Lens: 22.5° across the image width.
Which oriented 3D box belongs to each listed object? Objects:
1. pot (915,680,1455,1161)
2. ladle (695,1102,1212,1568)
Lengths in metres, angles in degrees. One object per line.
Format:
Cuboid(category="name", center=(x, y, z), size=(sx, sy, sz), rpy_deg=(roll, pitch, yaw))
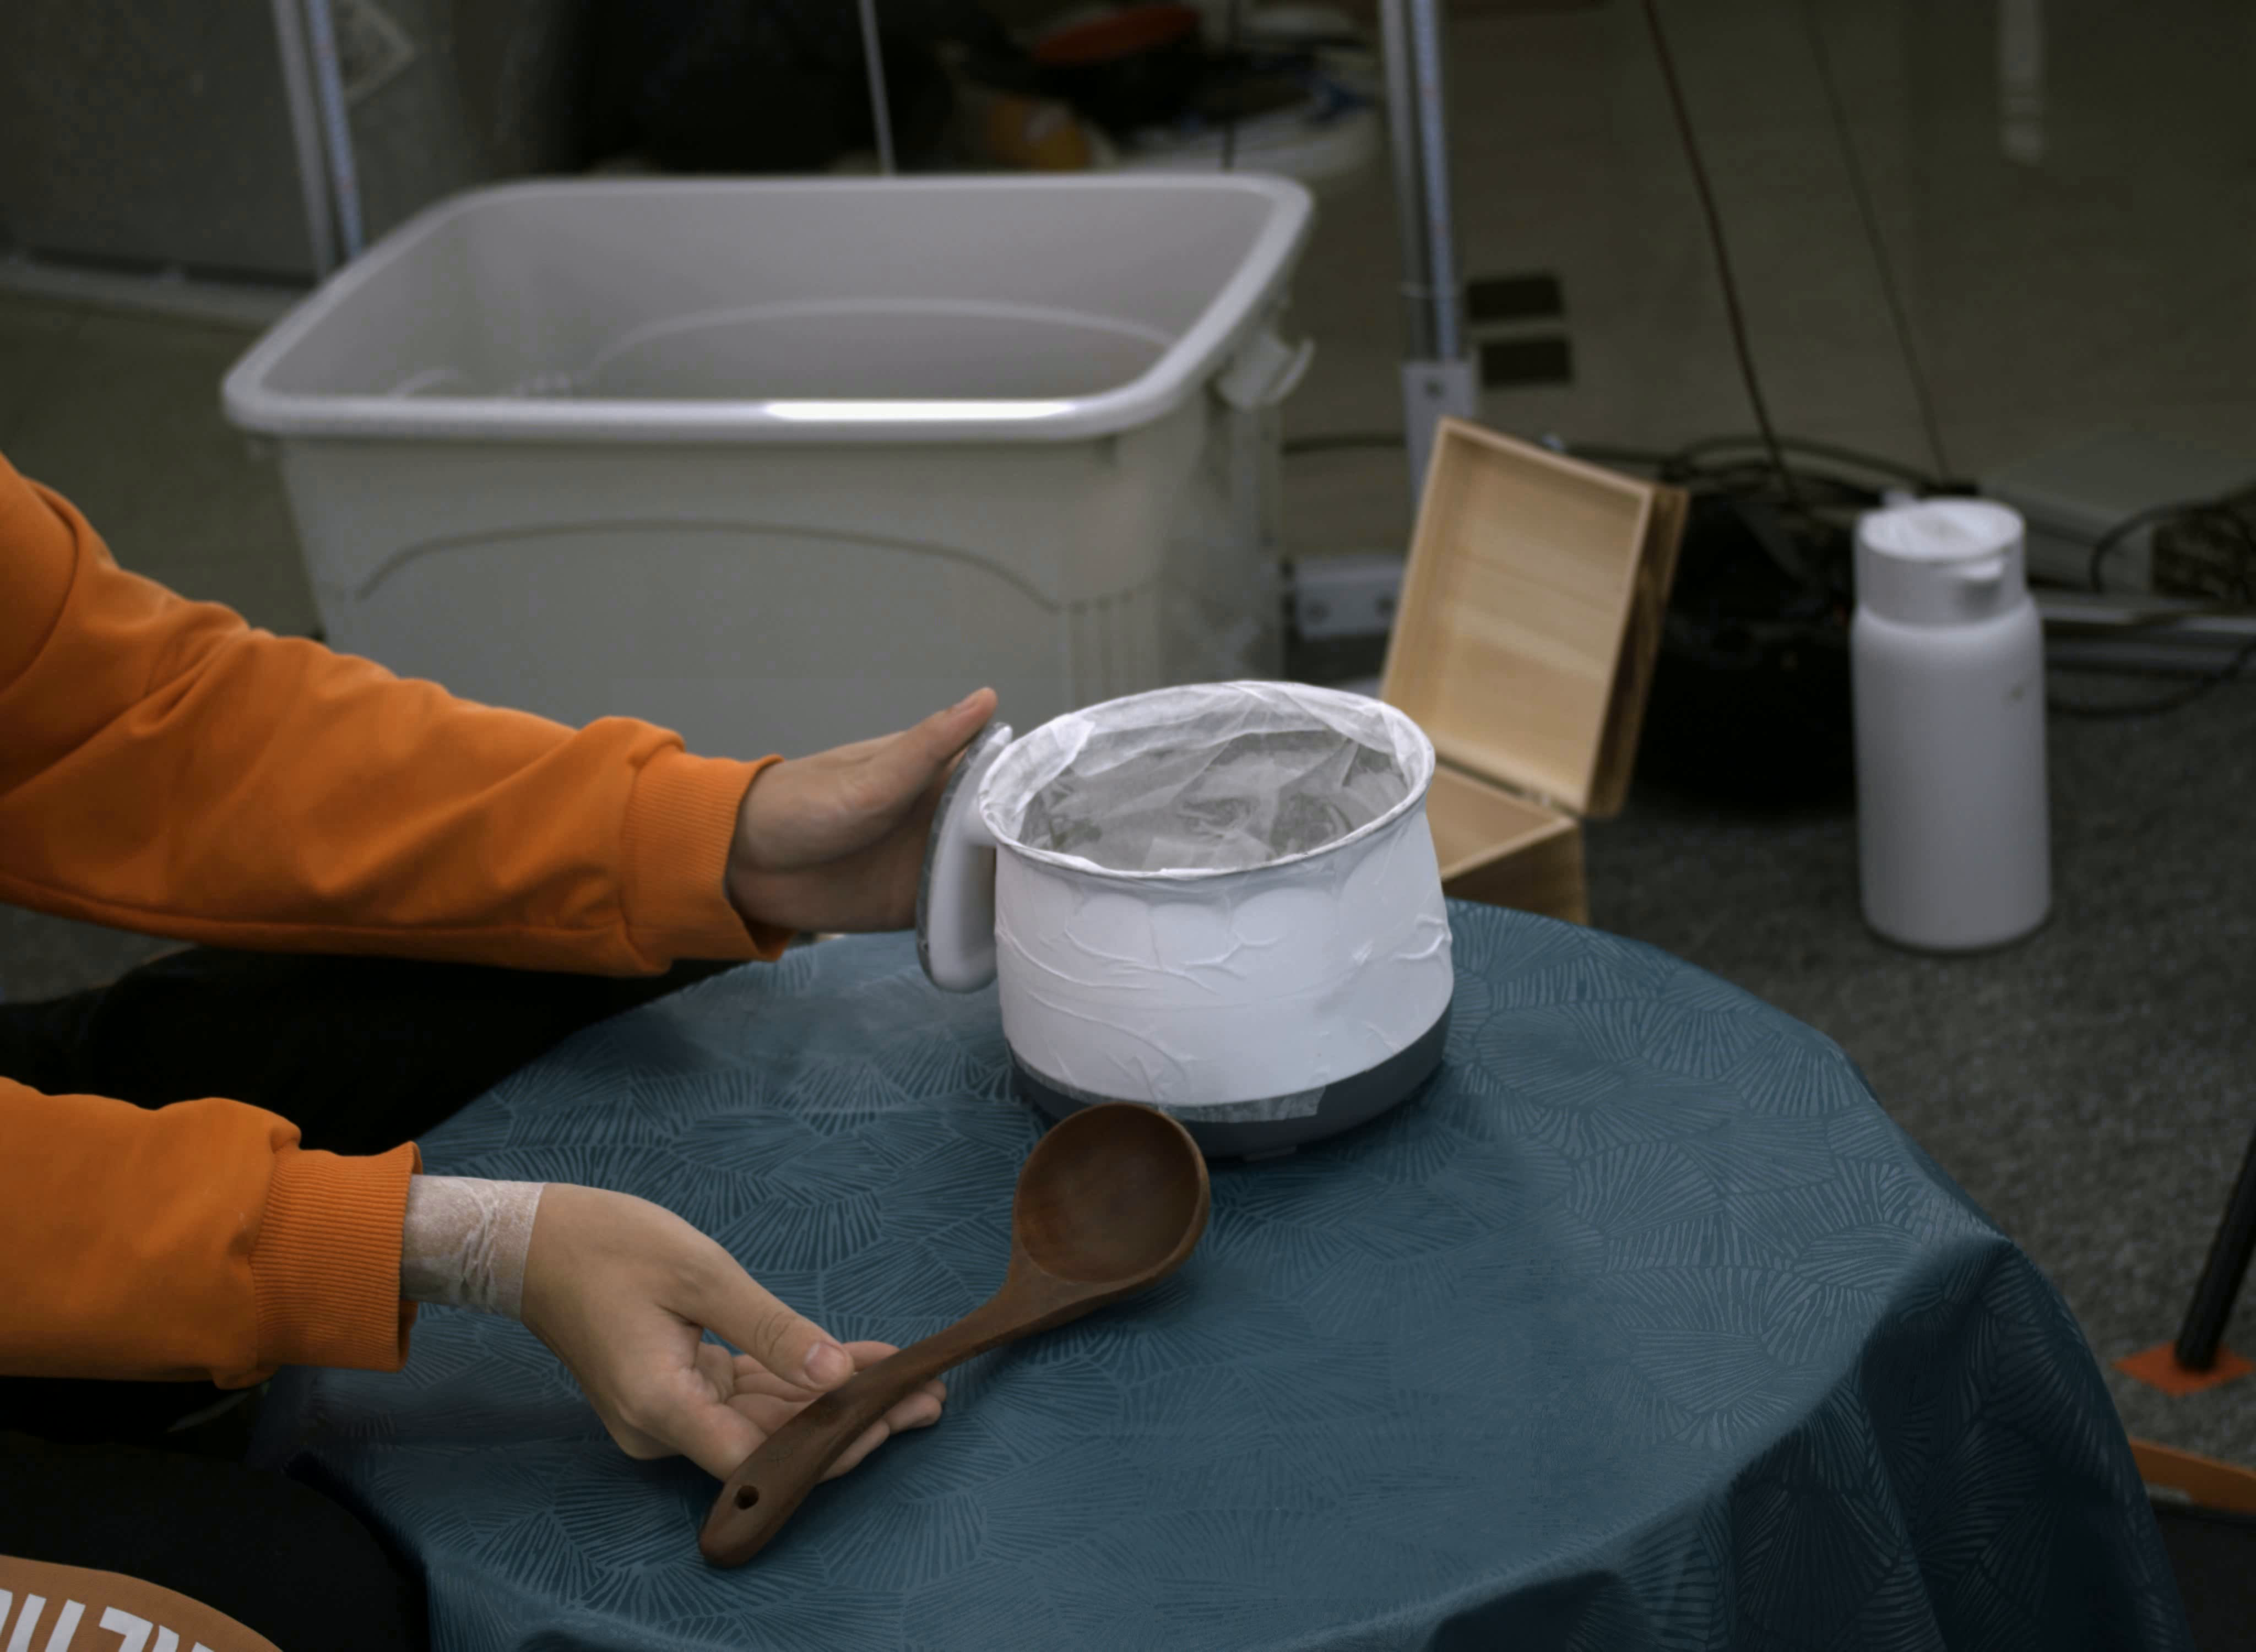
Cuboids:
Cuboid(category="pot", center=(0.013, 0.033, 2.205), size=(0.232, 0.139, 0.177), rpy_deg=(11, 30, 32))
Cuboid(category="ladle", center=(-0.064, 0.176, 2.006), size=(0.076, 0.066, 0.257), rpy_deg=(21, 35, 33))
